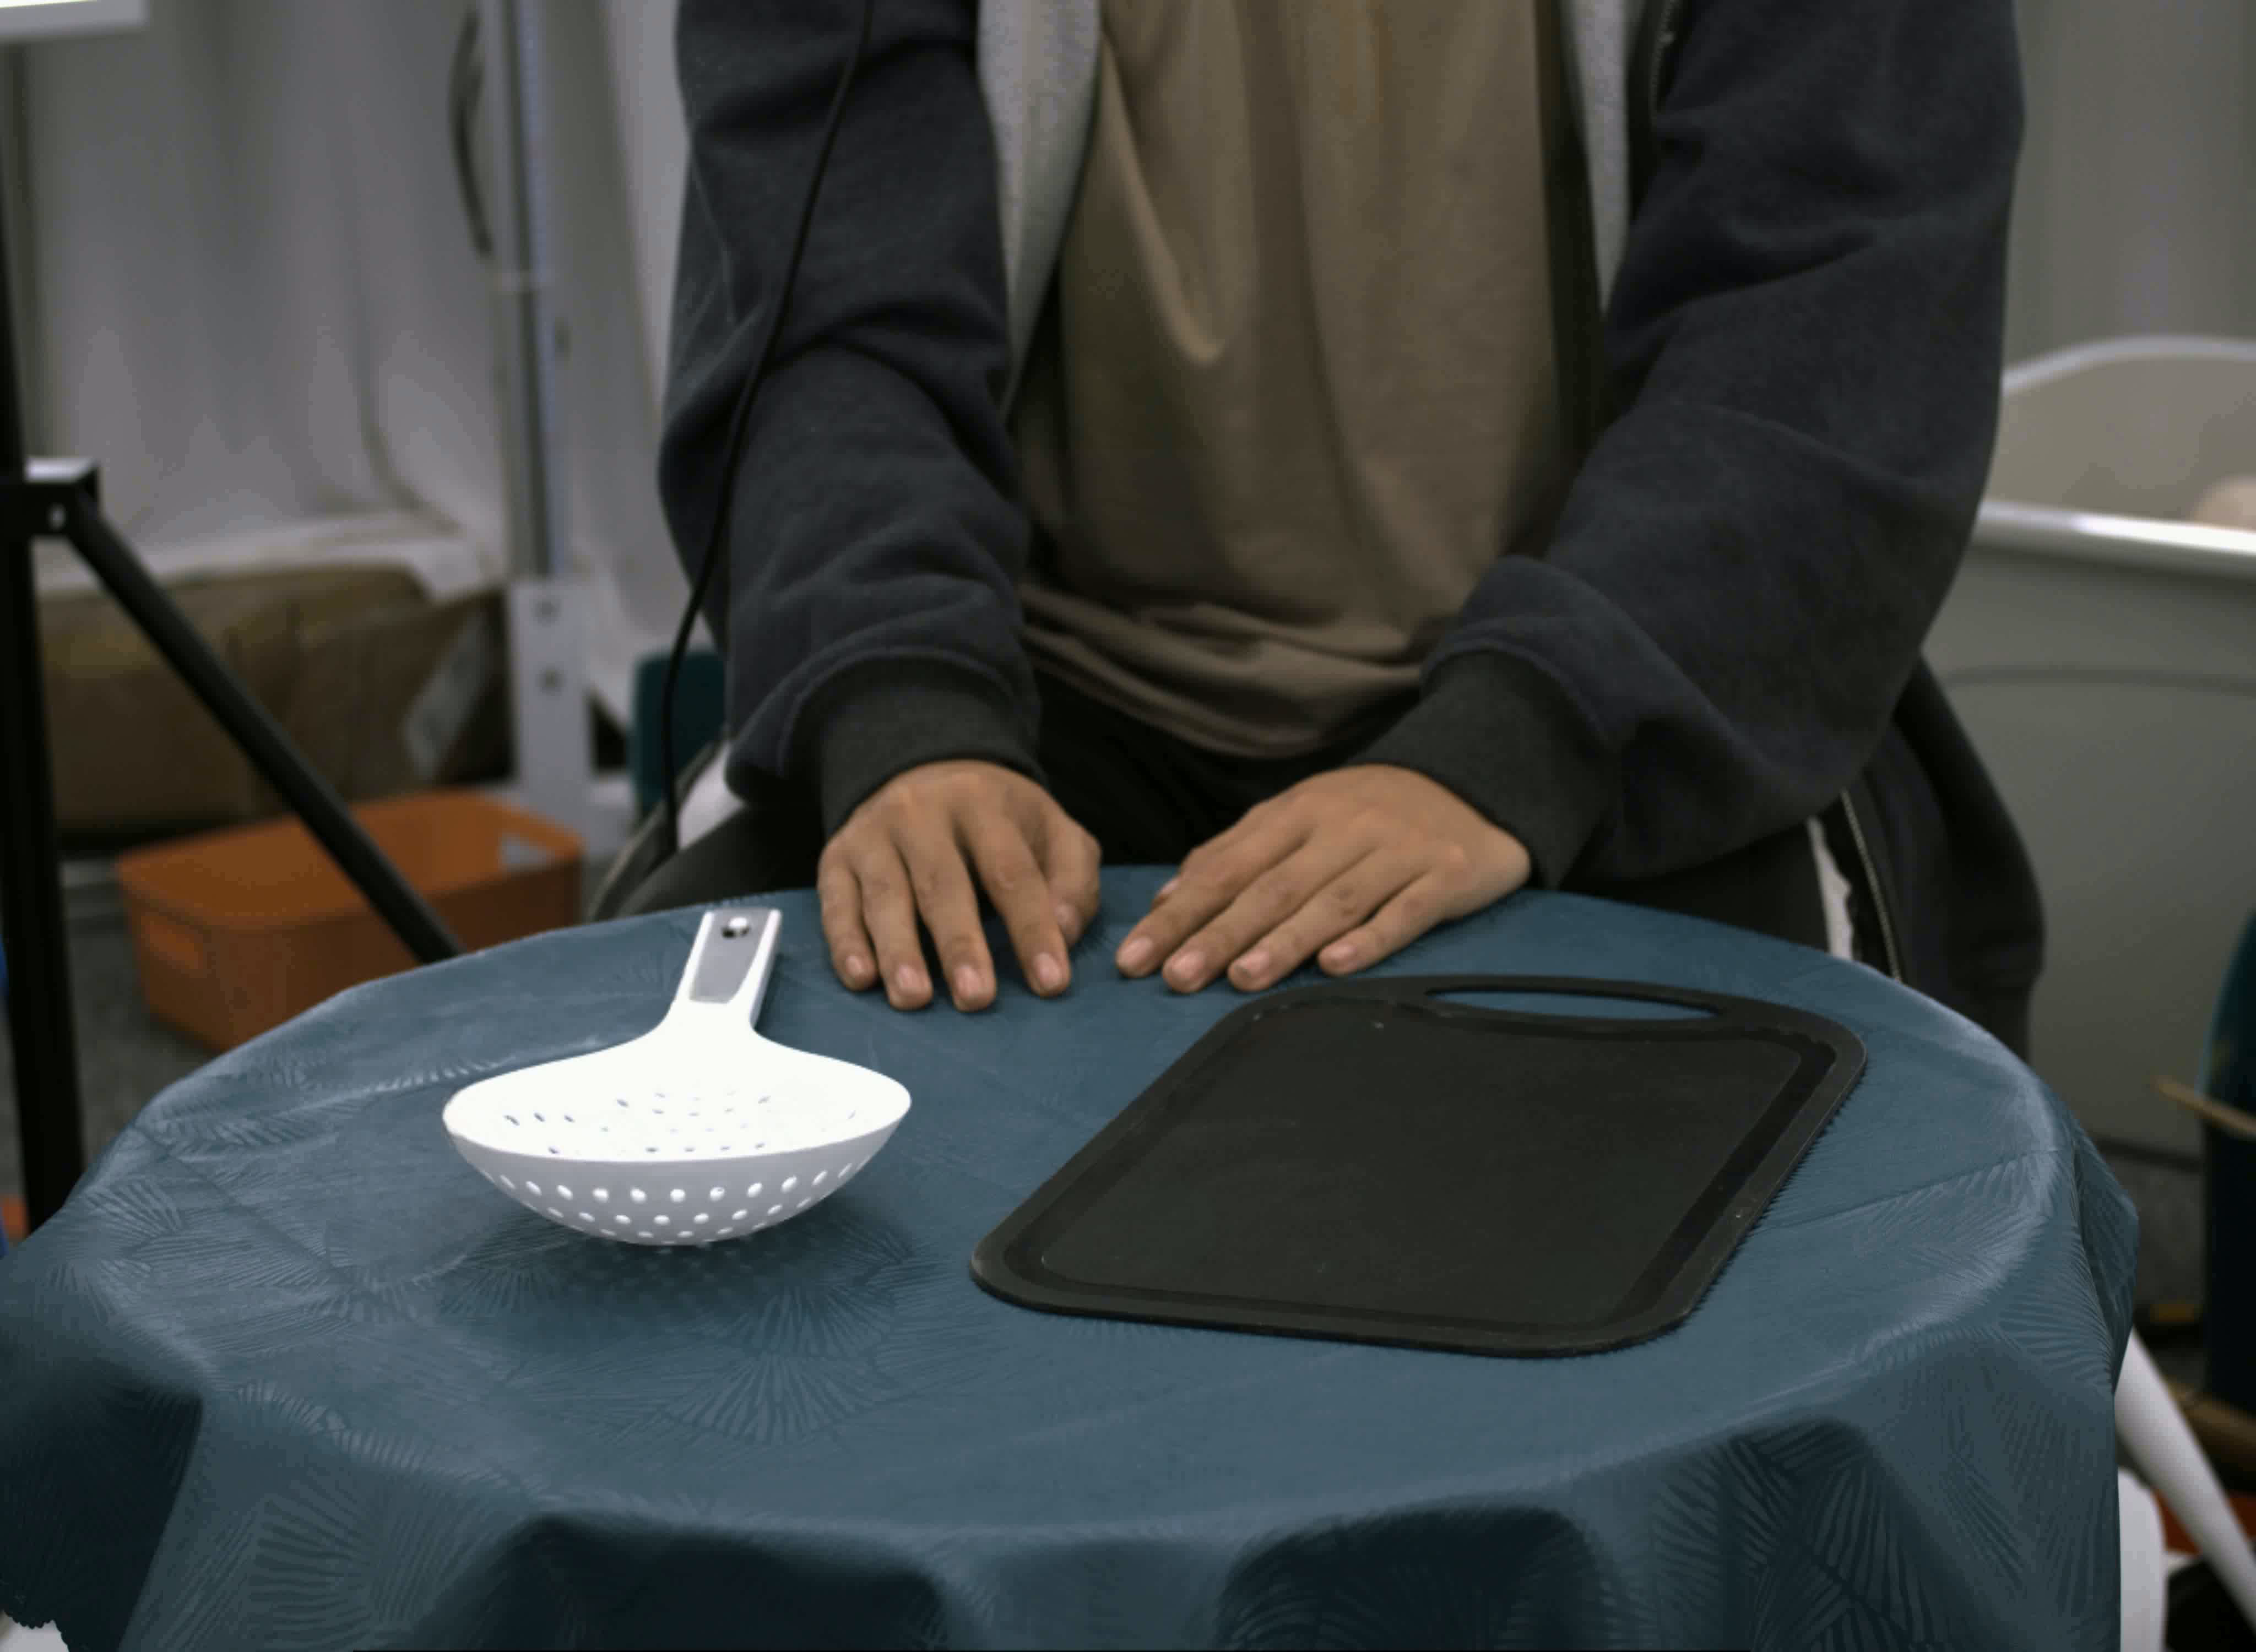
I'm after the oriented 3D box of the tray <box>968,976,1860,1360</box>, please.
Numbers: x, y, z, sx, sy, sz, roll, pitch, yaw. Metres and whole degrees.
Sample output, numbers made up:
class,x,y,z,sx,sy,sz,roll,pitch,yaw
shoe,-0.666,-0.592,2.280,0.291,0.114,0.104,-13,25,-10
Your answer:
class,x,y,z,sx,sy,sz,roll,pitch,yaw
tray,0.094,0.093,1.585,0.214,0.010,0.321,4,17,21

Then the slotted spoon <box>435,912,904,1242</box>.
class,x,y,z,sx,sy,sz,roll,pitch,yaw
slotted spoon,-0.132,0.068,1.642,0.135,0.046,0.351,0,15,0
